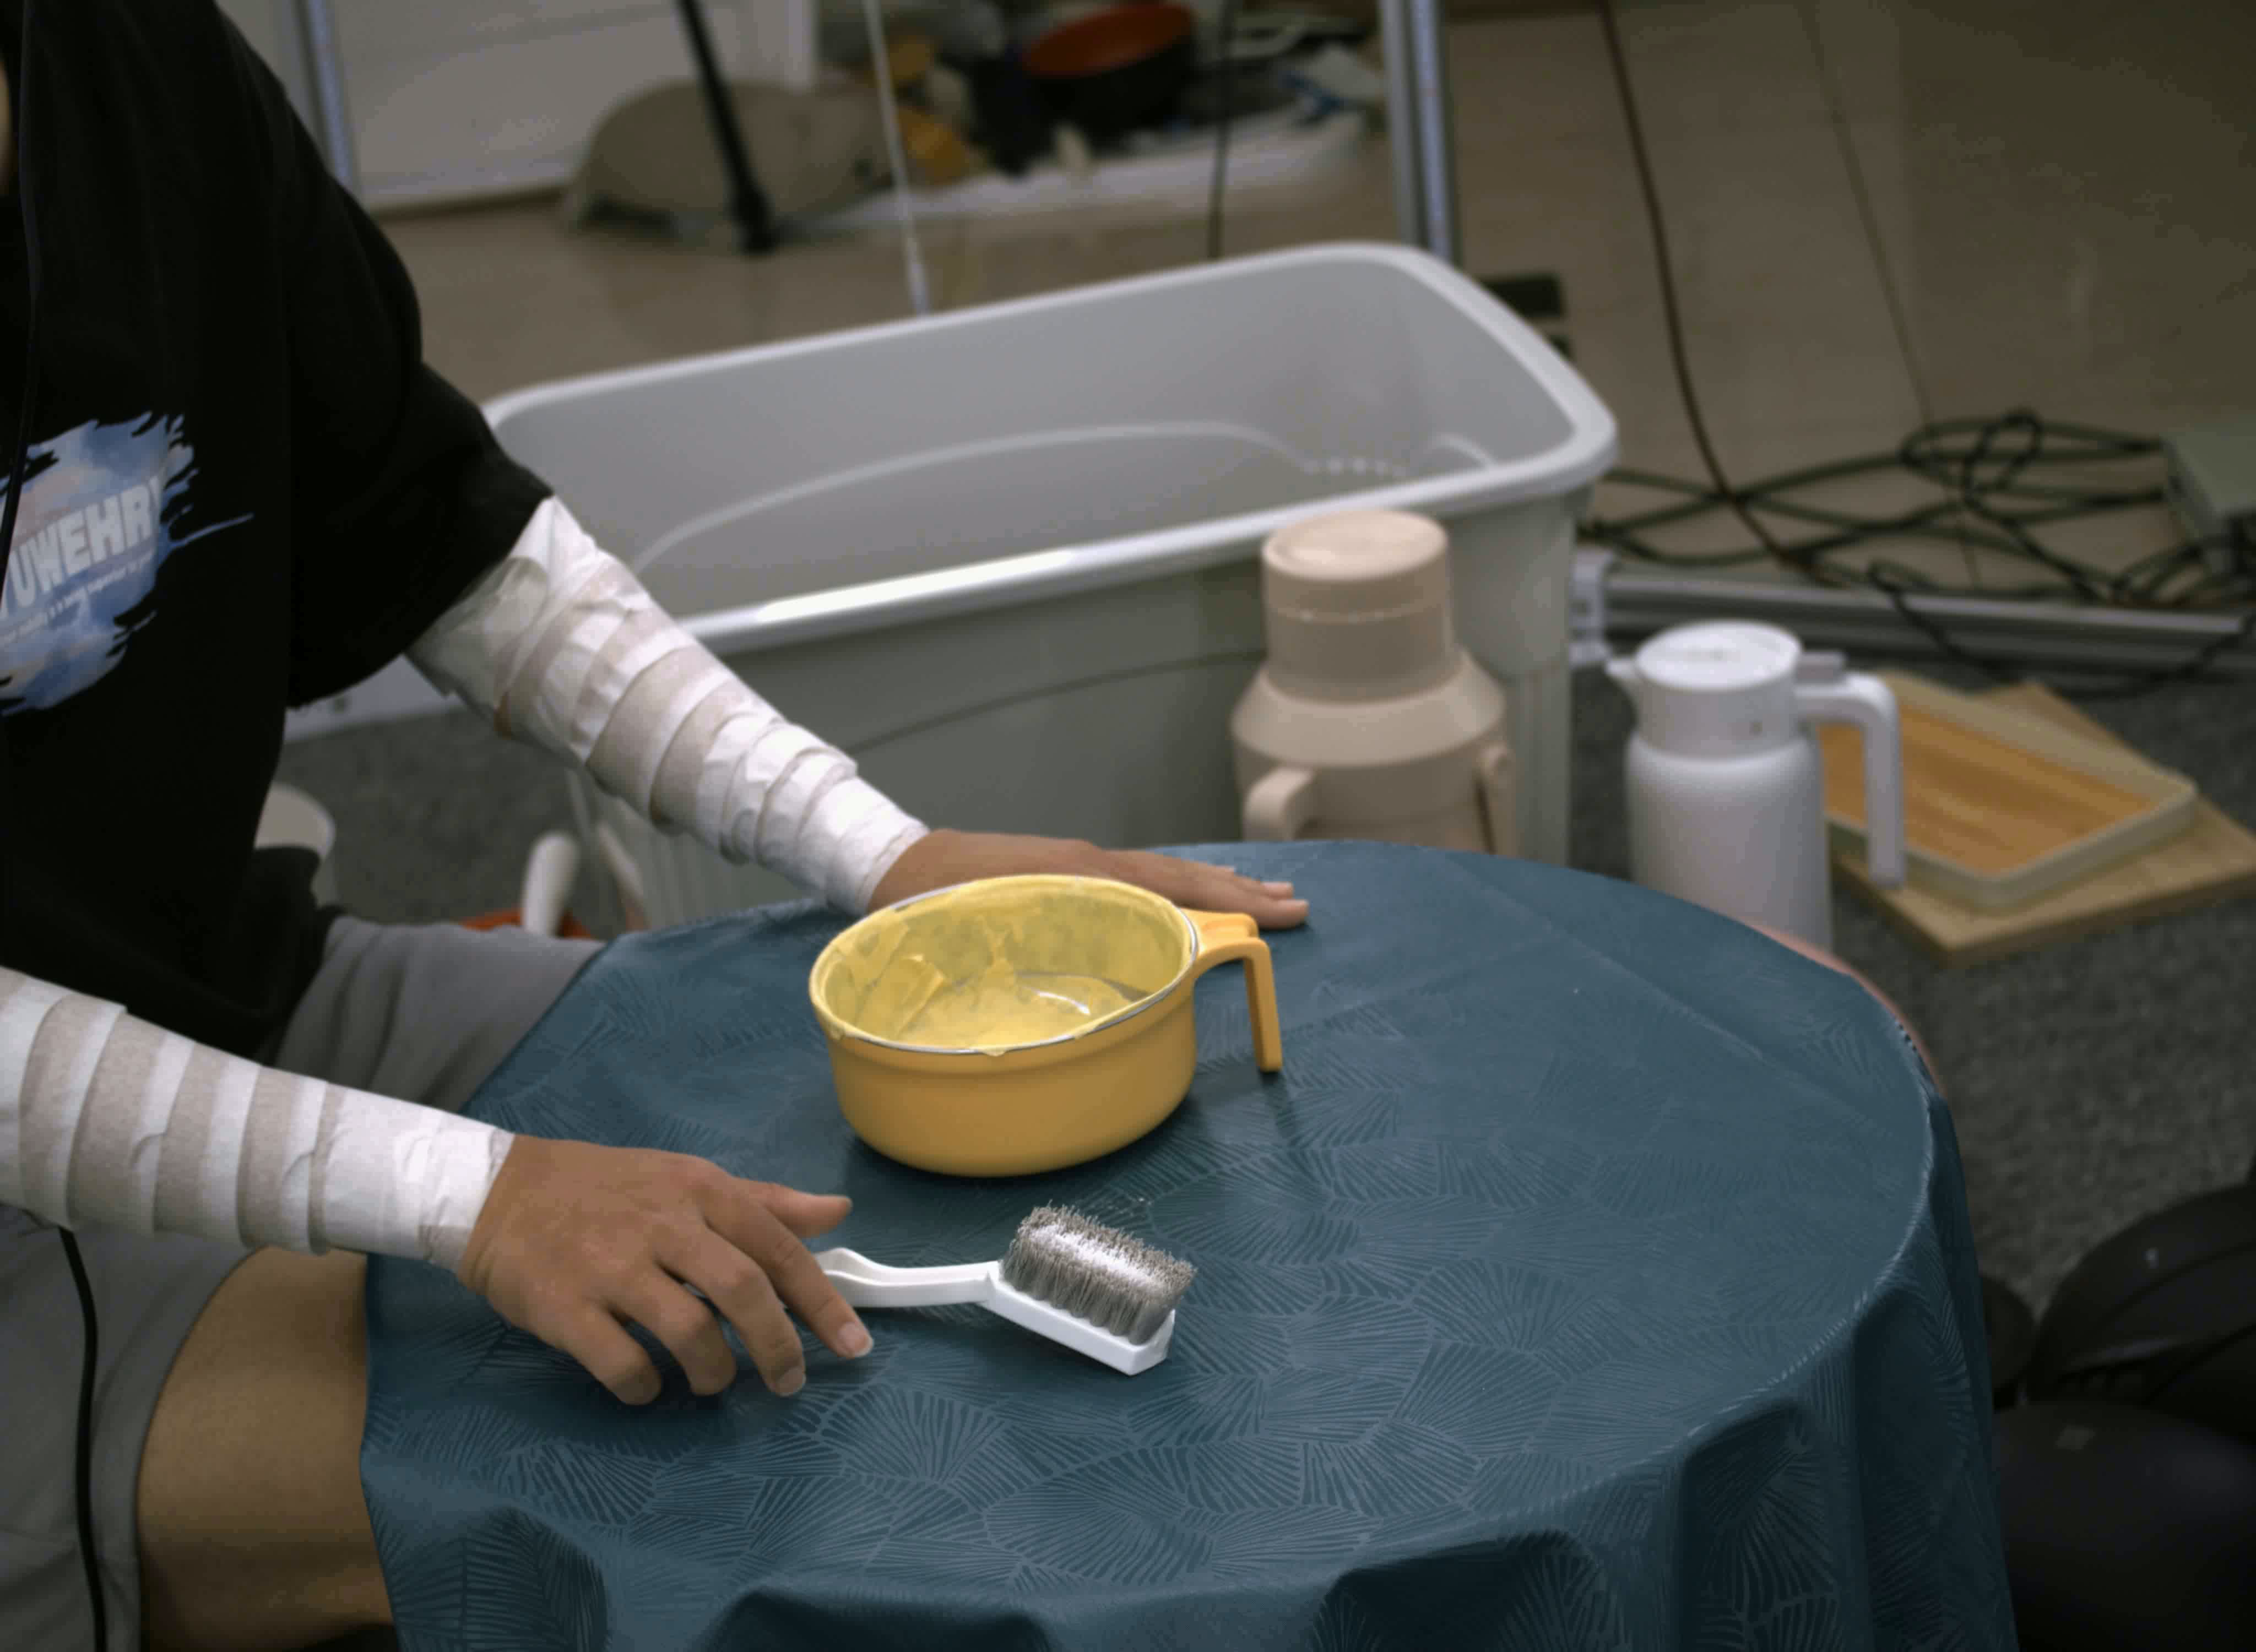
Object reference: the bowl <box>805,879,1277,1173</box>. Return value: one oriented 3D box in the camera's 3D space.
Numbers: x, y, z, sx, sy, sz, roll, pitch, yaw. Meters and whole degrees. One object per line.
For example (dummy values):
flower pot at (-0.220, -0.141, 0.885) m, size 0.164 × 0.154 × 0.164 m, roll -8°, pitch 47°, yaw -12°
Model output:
bowl at (-0.033, 0.079, 2.203) m, size 0.179 × 0.075 × 0.151 m, roll -10°, pitch 20°, yaw -10°

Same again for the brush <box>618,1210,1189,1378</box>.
brush at (-0.087, 0.156, 2.073) m, size 0.242 × 0.051 × 0.034 m, roll 9°, pitch 31°, yaw 29°
